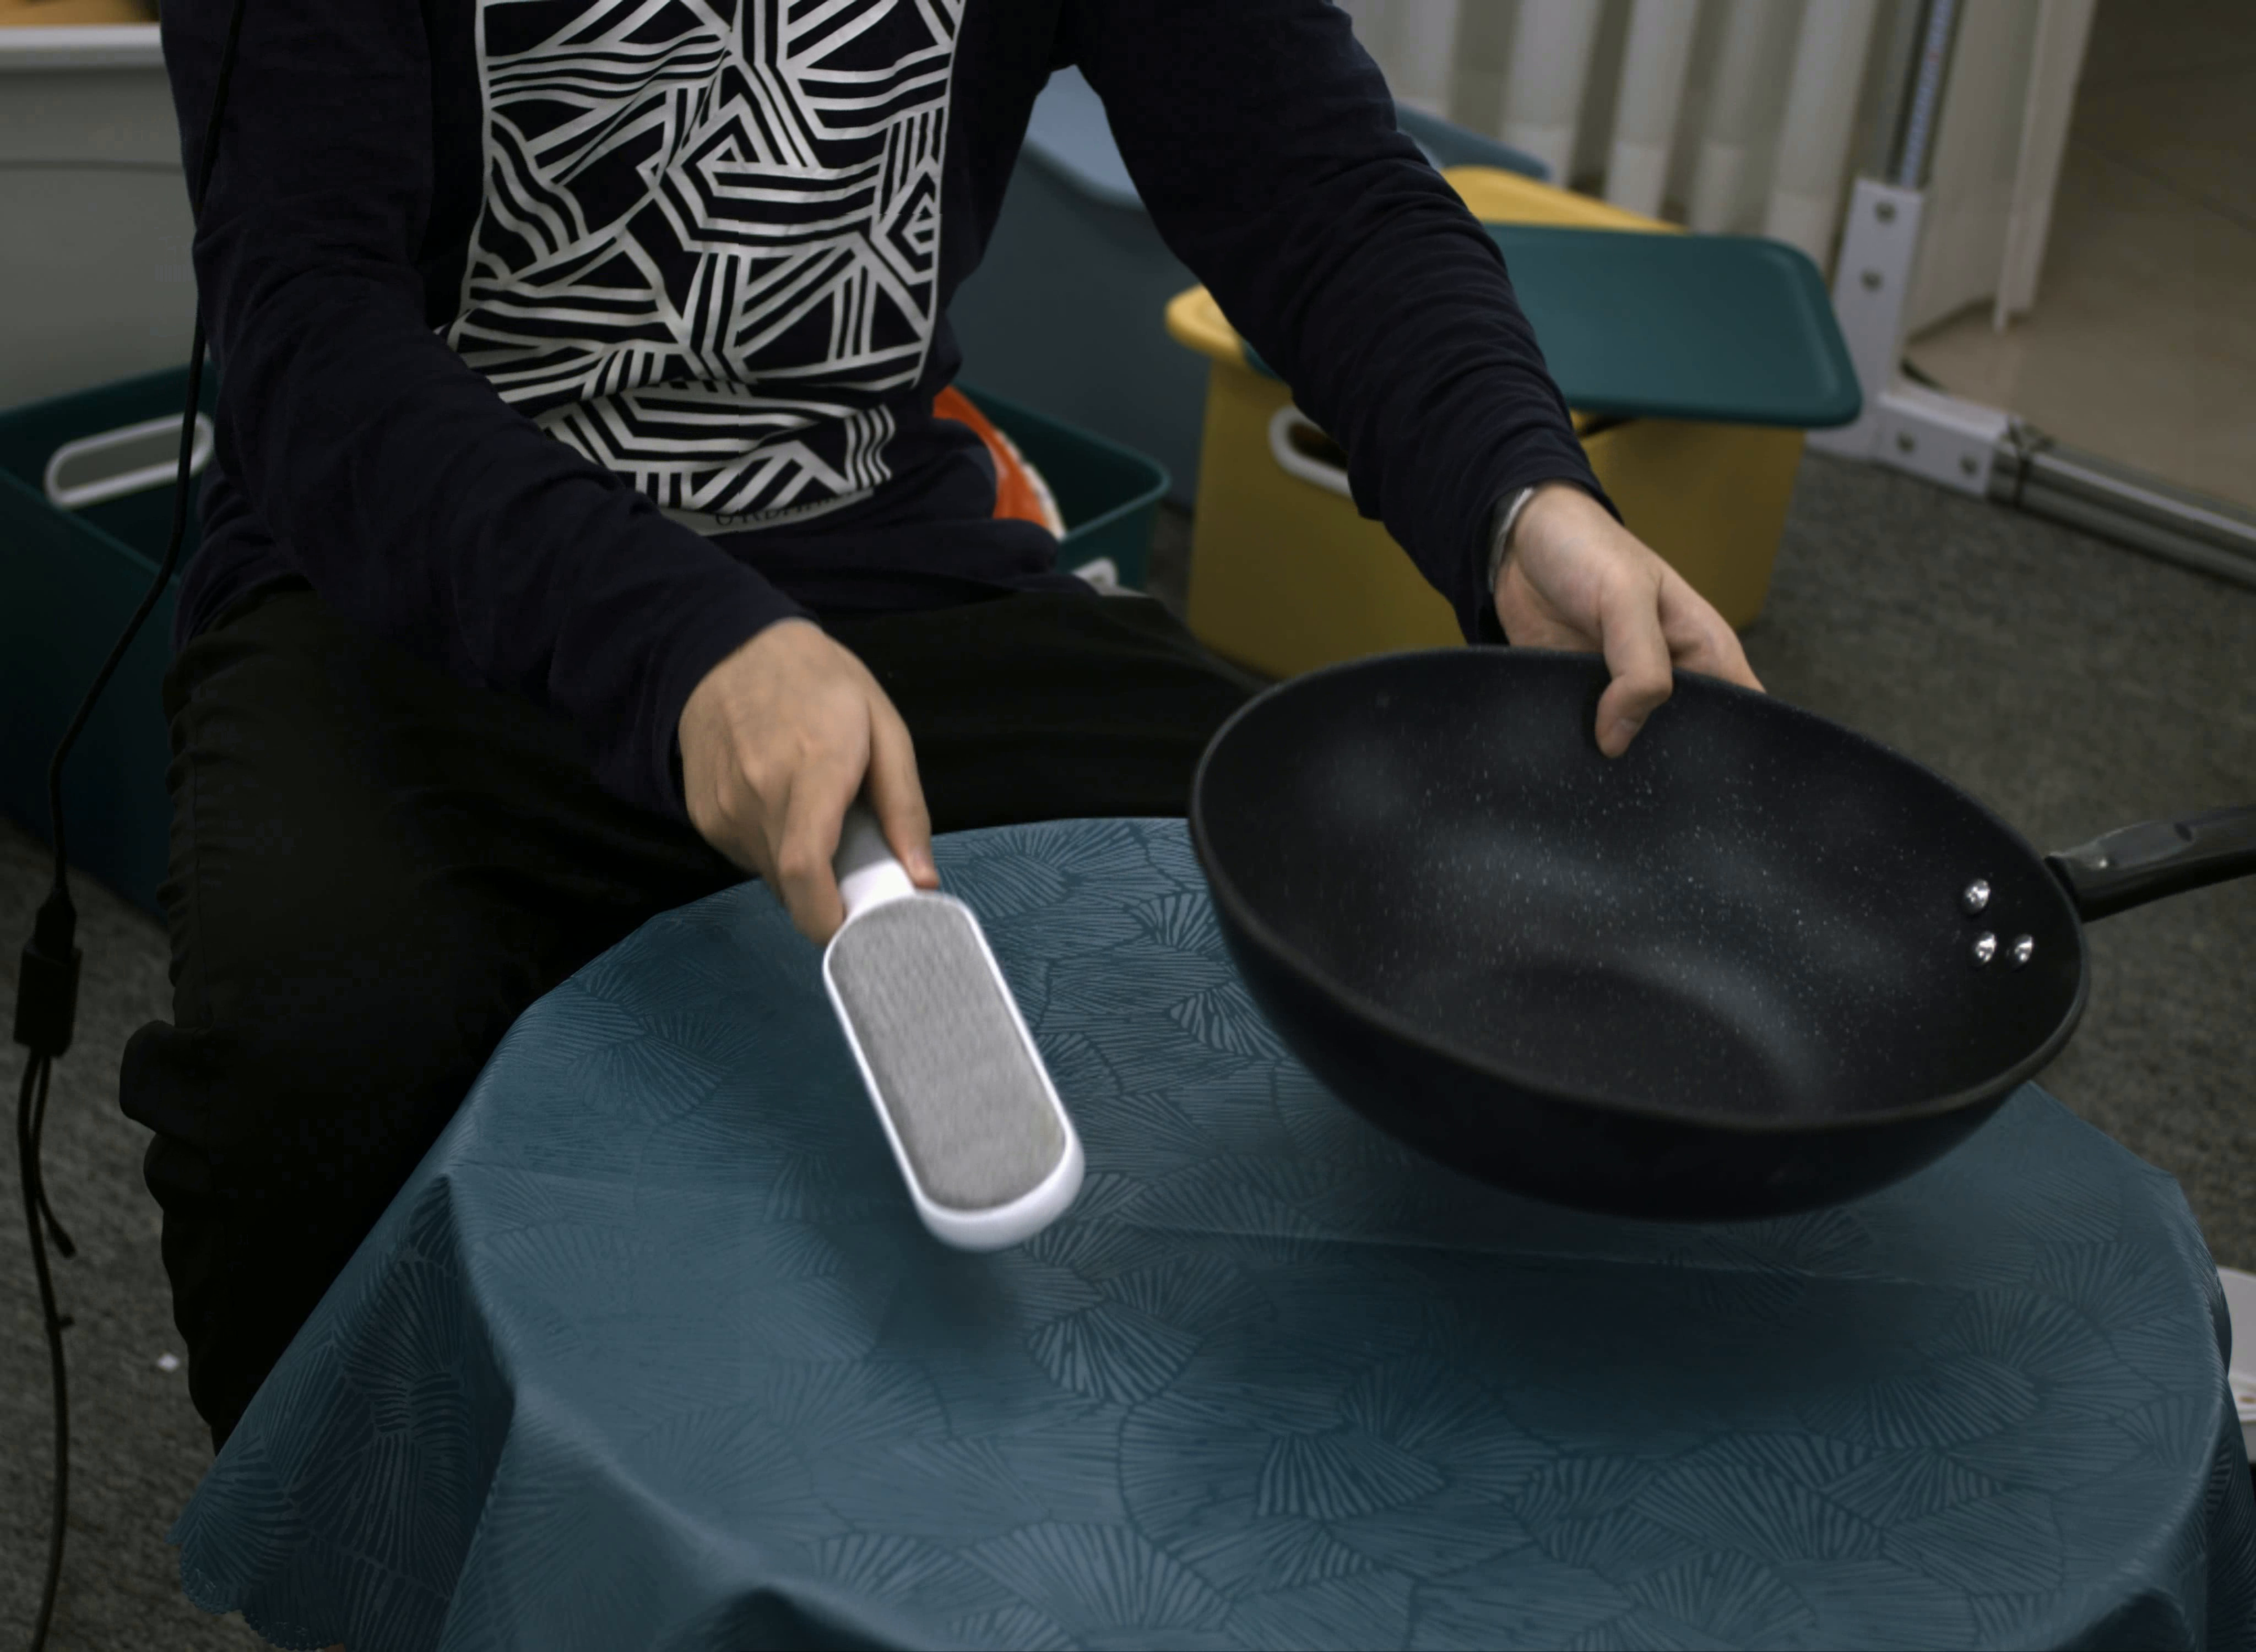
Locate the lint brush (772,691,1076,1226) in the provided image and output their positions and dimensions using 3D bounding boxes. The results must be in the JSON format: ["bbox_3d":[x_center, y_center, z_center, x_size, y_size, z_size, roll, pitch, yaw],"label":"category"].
[{"bbox_3d":[-0.077,0.038,1.812,0.060,0.021,0.312,-29,36,1],"label":"lint brush"}]

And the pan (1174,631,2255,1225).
[{"bbox_3d":[0.240,0.036,1.819,0.474,0.111,0.313,0,32,-20],"label":"pan"}]
